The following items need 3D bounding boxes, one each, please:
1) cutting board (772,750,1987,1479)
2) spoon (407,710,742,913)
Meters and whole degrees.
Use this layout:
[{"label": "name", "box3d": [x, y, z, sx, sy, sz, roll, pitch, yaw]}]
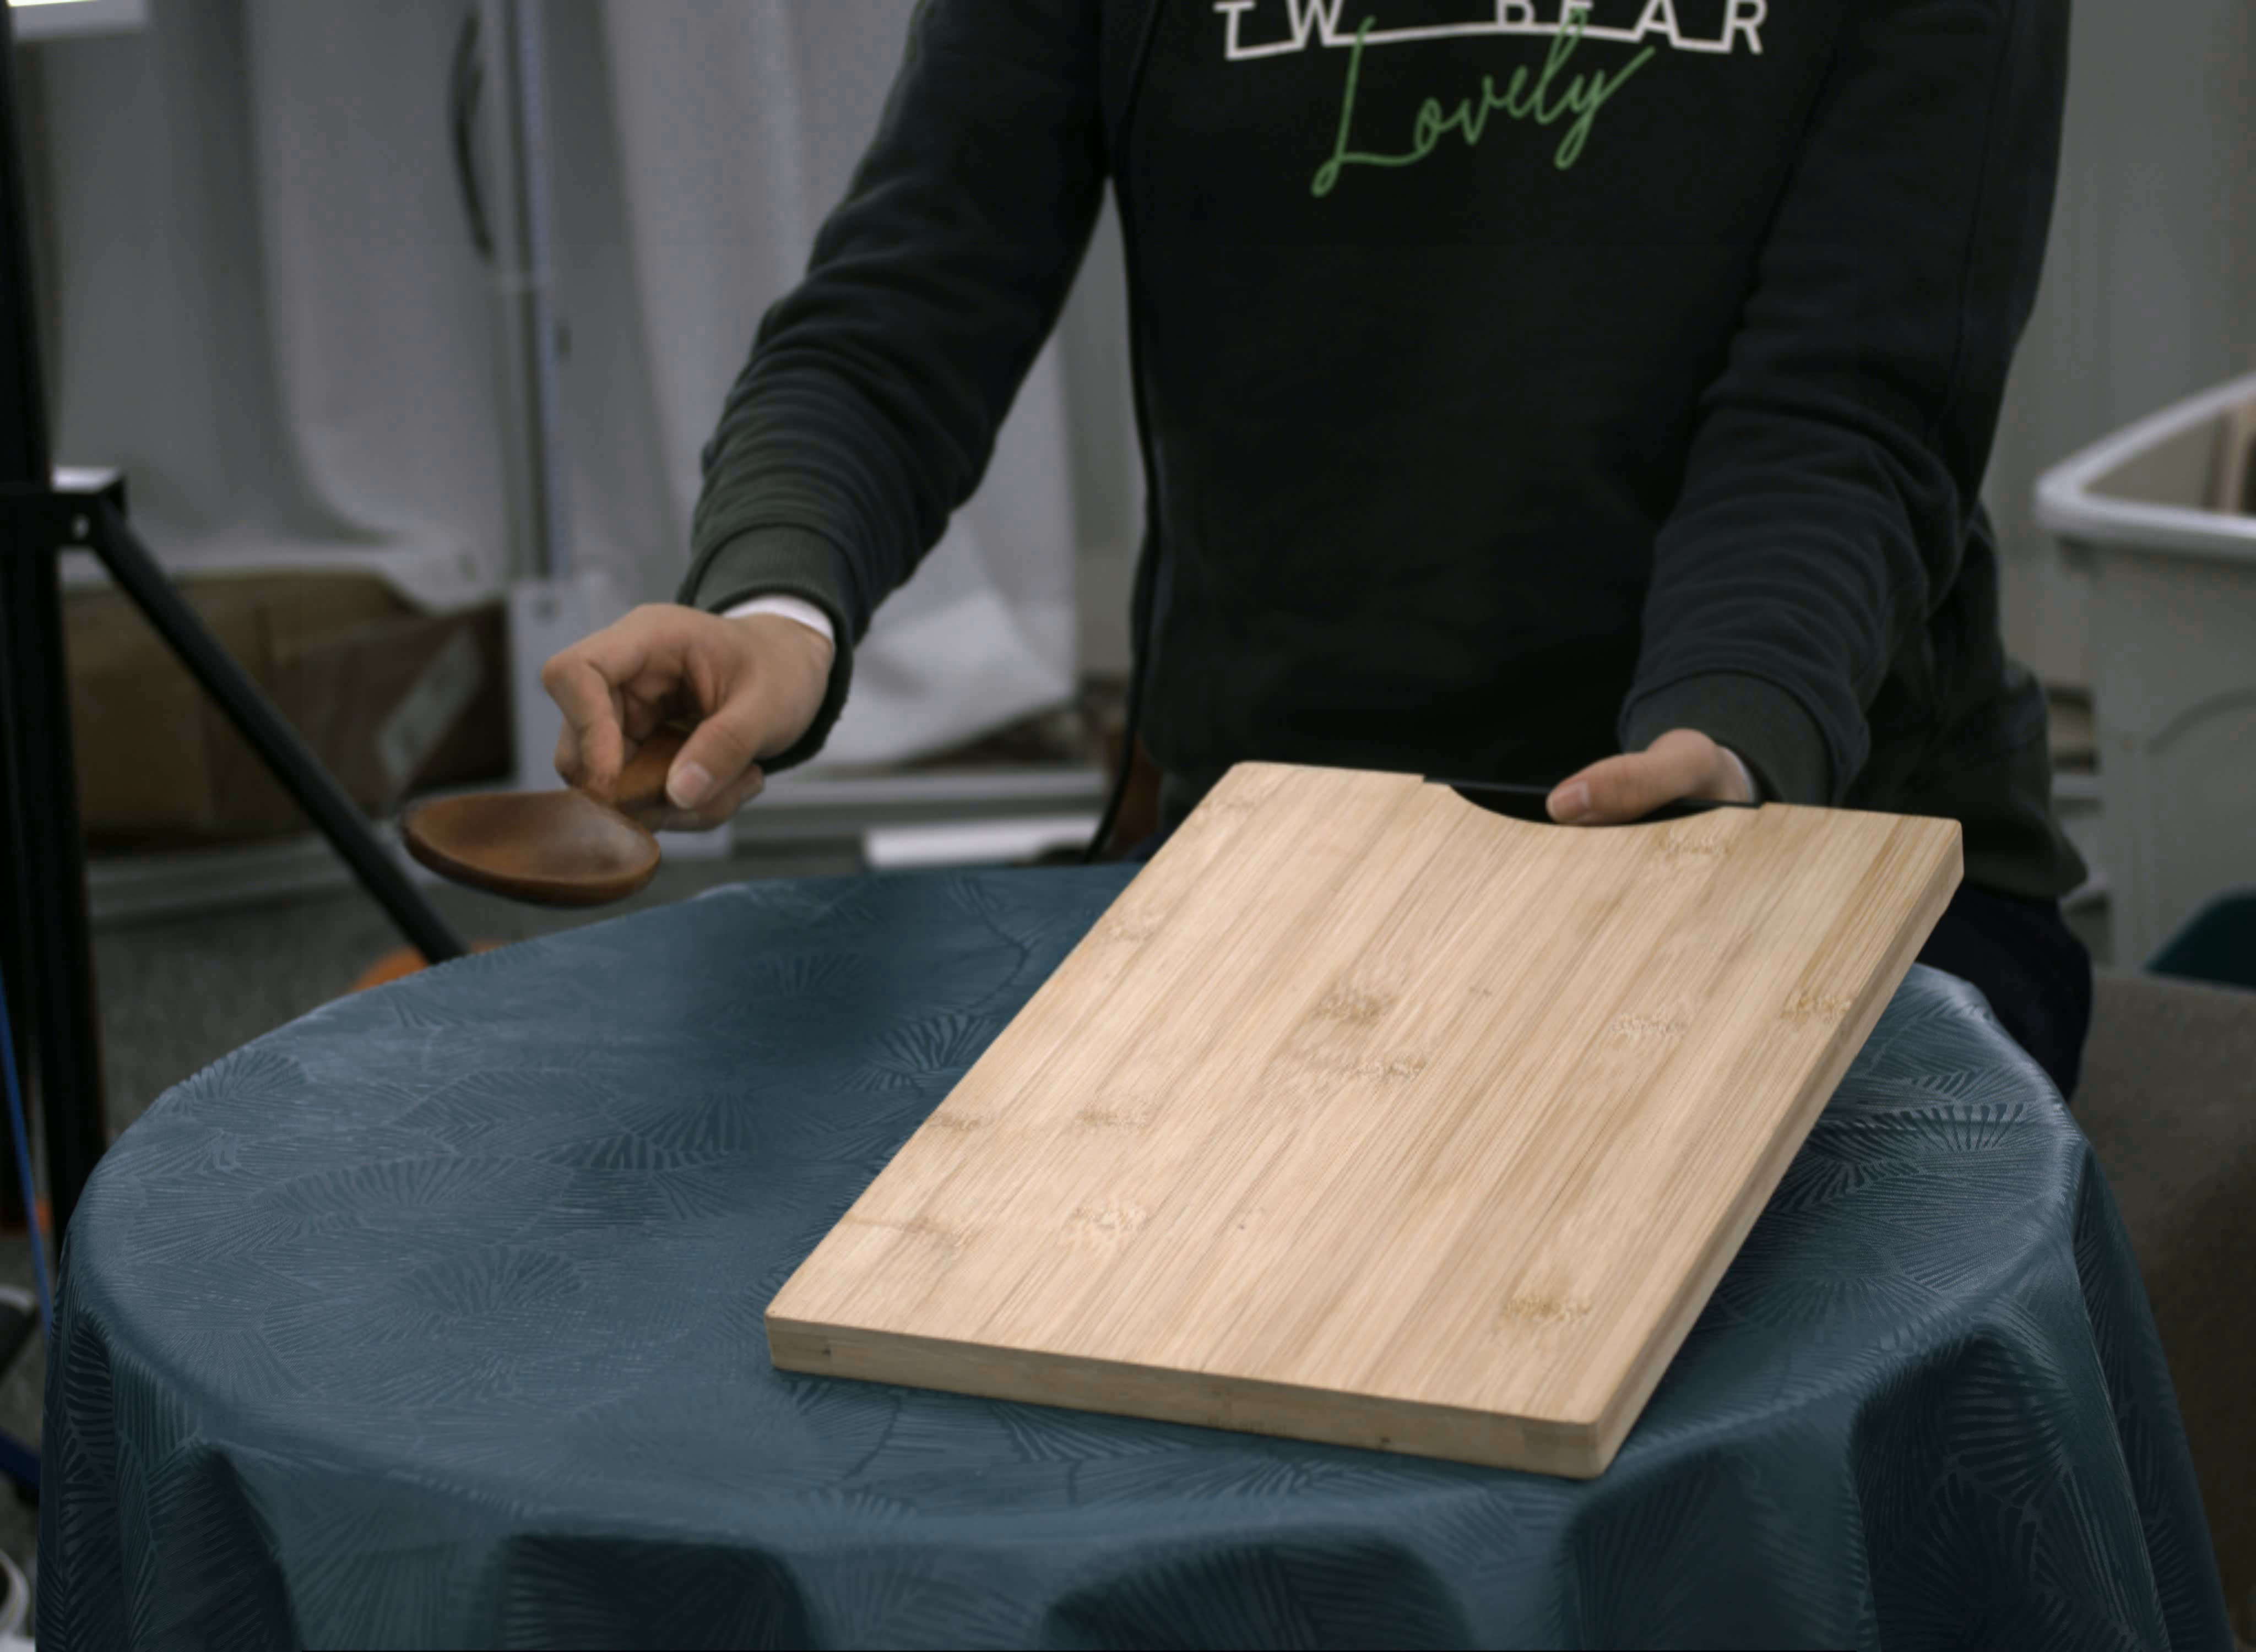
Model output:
[{"label": "cutting board", "box3d": [0.081, 0.071, 1.519, 0.254, 0.023, 0.345, 5, 29, 24]}, {"label": "spoon", "box3d": [-0.158, -0.004, 1.631, 0.076, 0.017, 0.214, 12, 16, 12]}]
